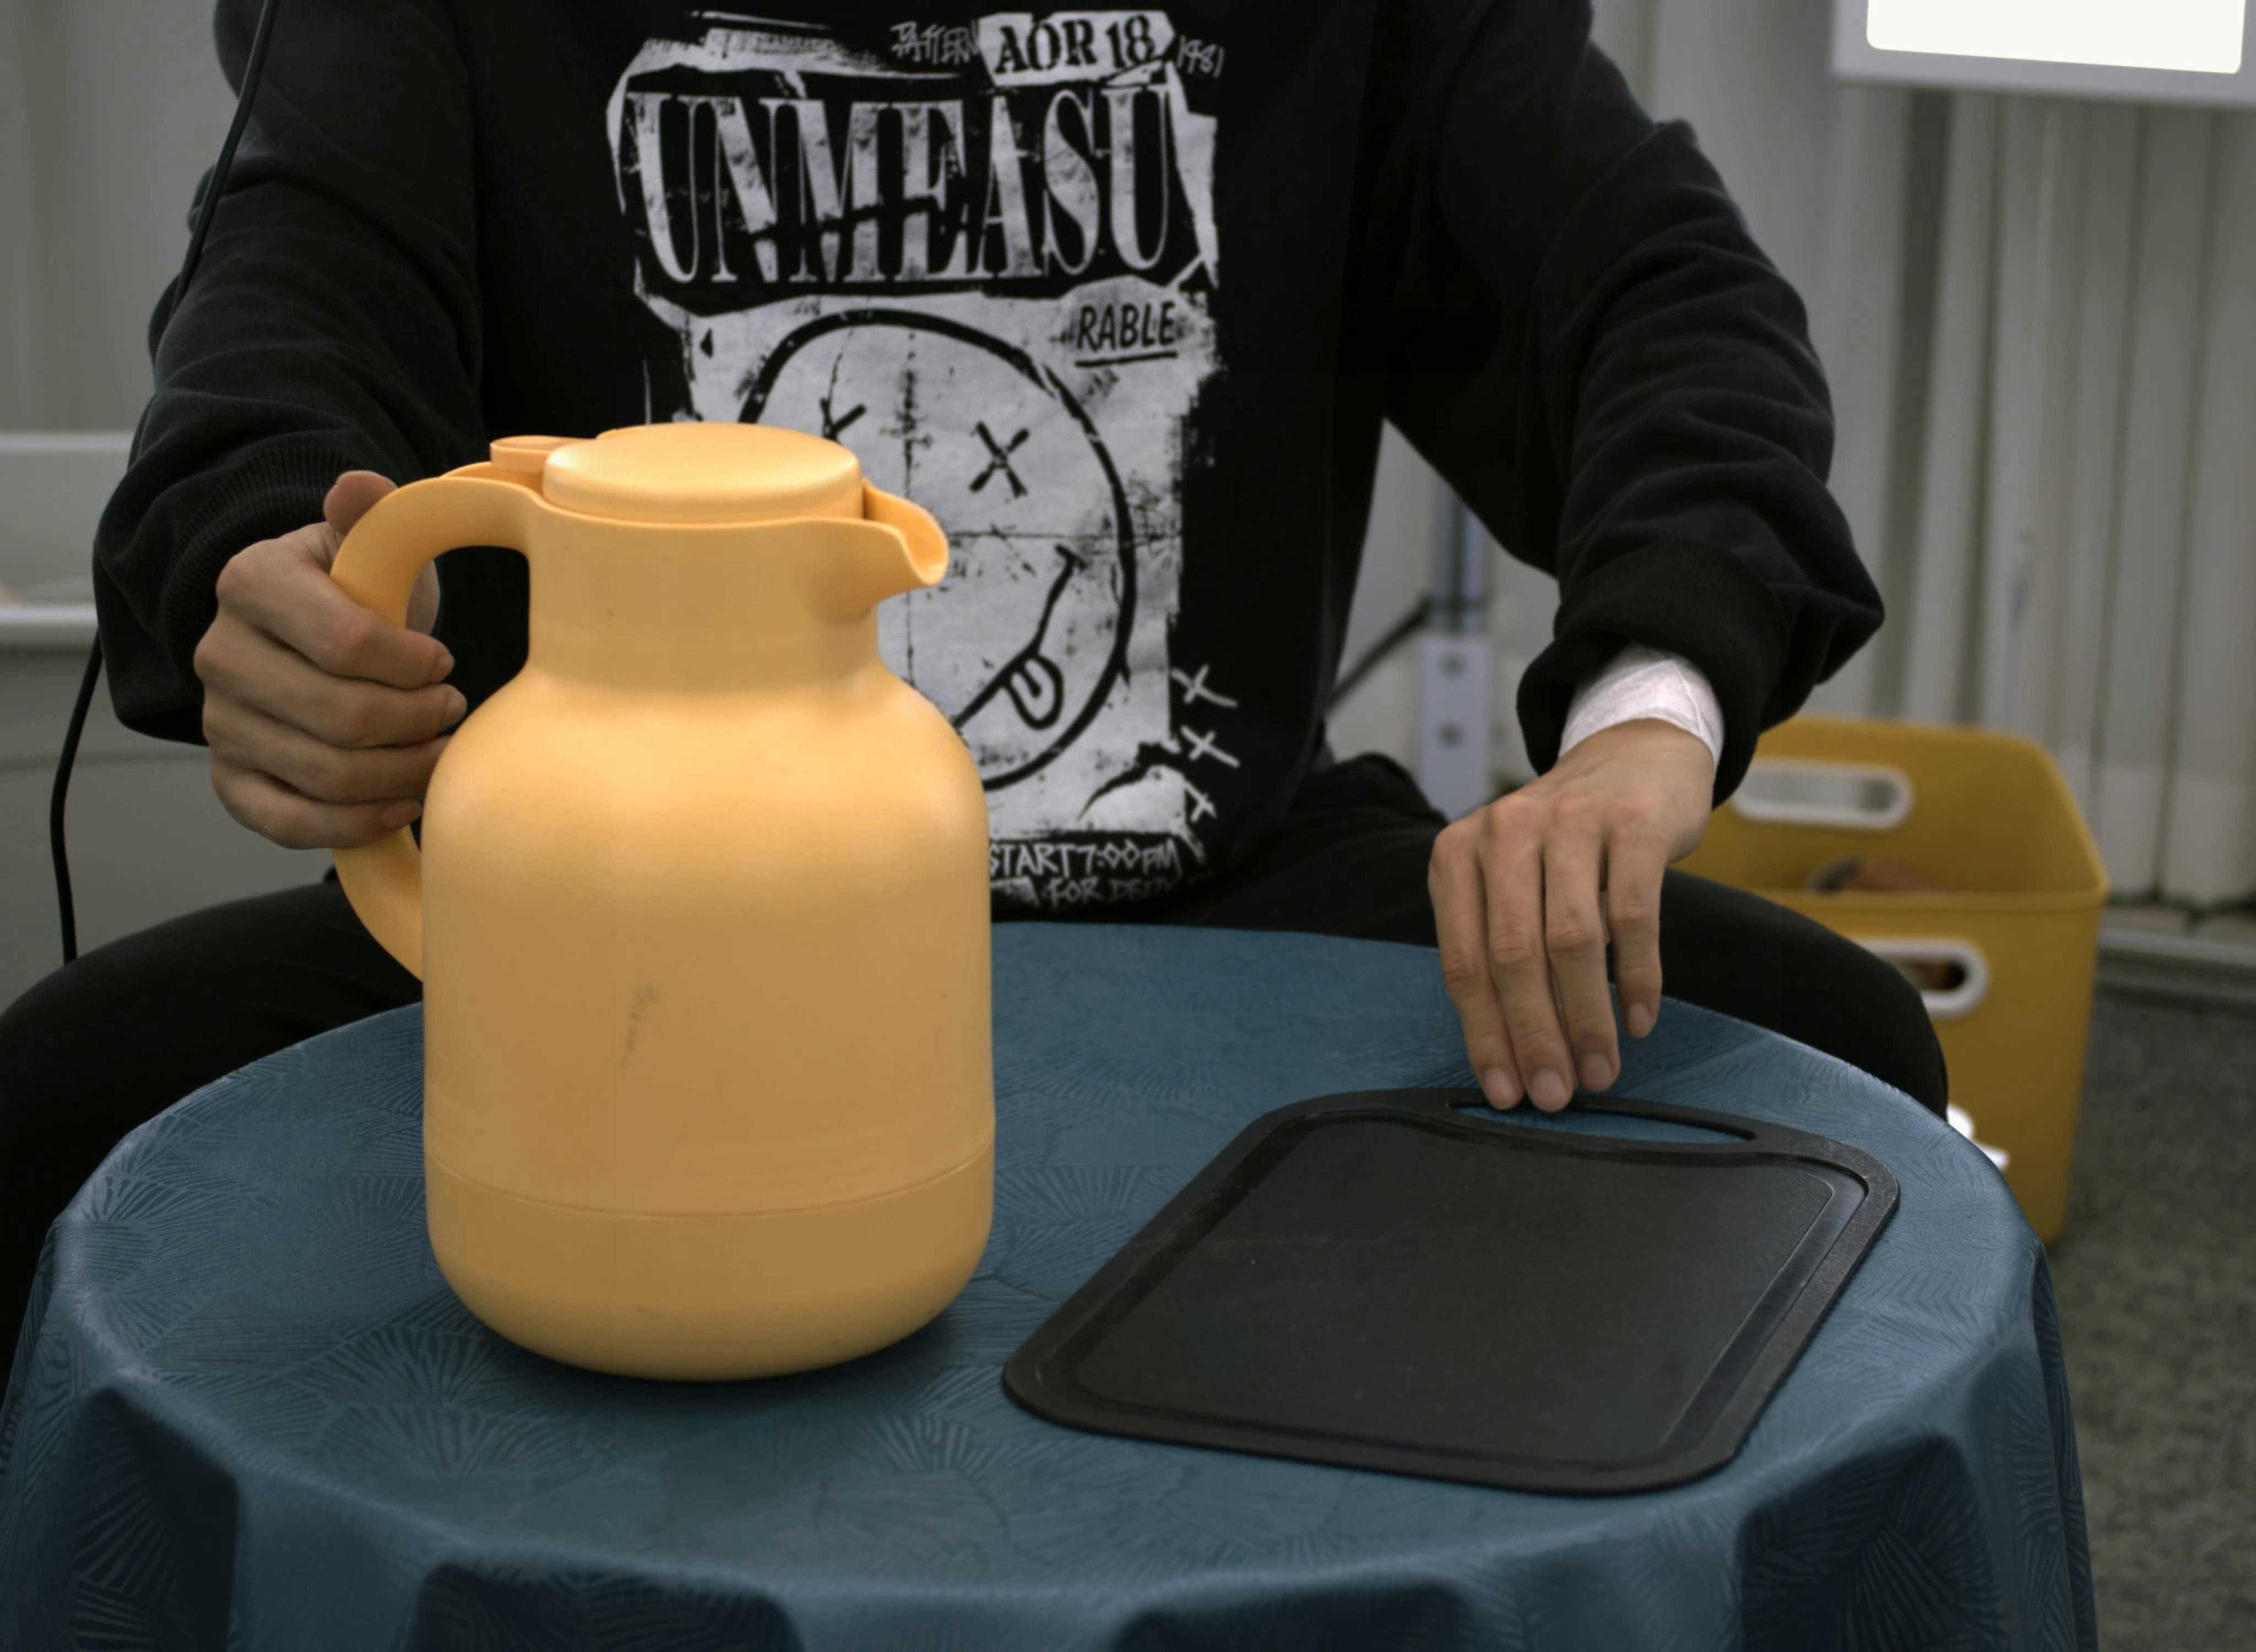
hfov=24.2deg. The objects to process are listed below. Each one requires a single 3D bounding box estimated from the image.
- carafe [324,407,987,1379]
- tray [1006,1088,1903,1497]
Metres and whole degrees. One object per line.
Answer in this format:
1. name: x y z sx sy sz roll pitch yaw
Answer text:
1. carafe: -0.136 0.011 1.487 0.200 0.262 0.164 11 16 26
2. tray: 0.105 0.128 1.557 0.209 0.010 0.325 6 16 19
